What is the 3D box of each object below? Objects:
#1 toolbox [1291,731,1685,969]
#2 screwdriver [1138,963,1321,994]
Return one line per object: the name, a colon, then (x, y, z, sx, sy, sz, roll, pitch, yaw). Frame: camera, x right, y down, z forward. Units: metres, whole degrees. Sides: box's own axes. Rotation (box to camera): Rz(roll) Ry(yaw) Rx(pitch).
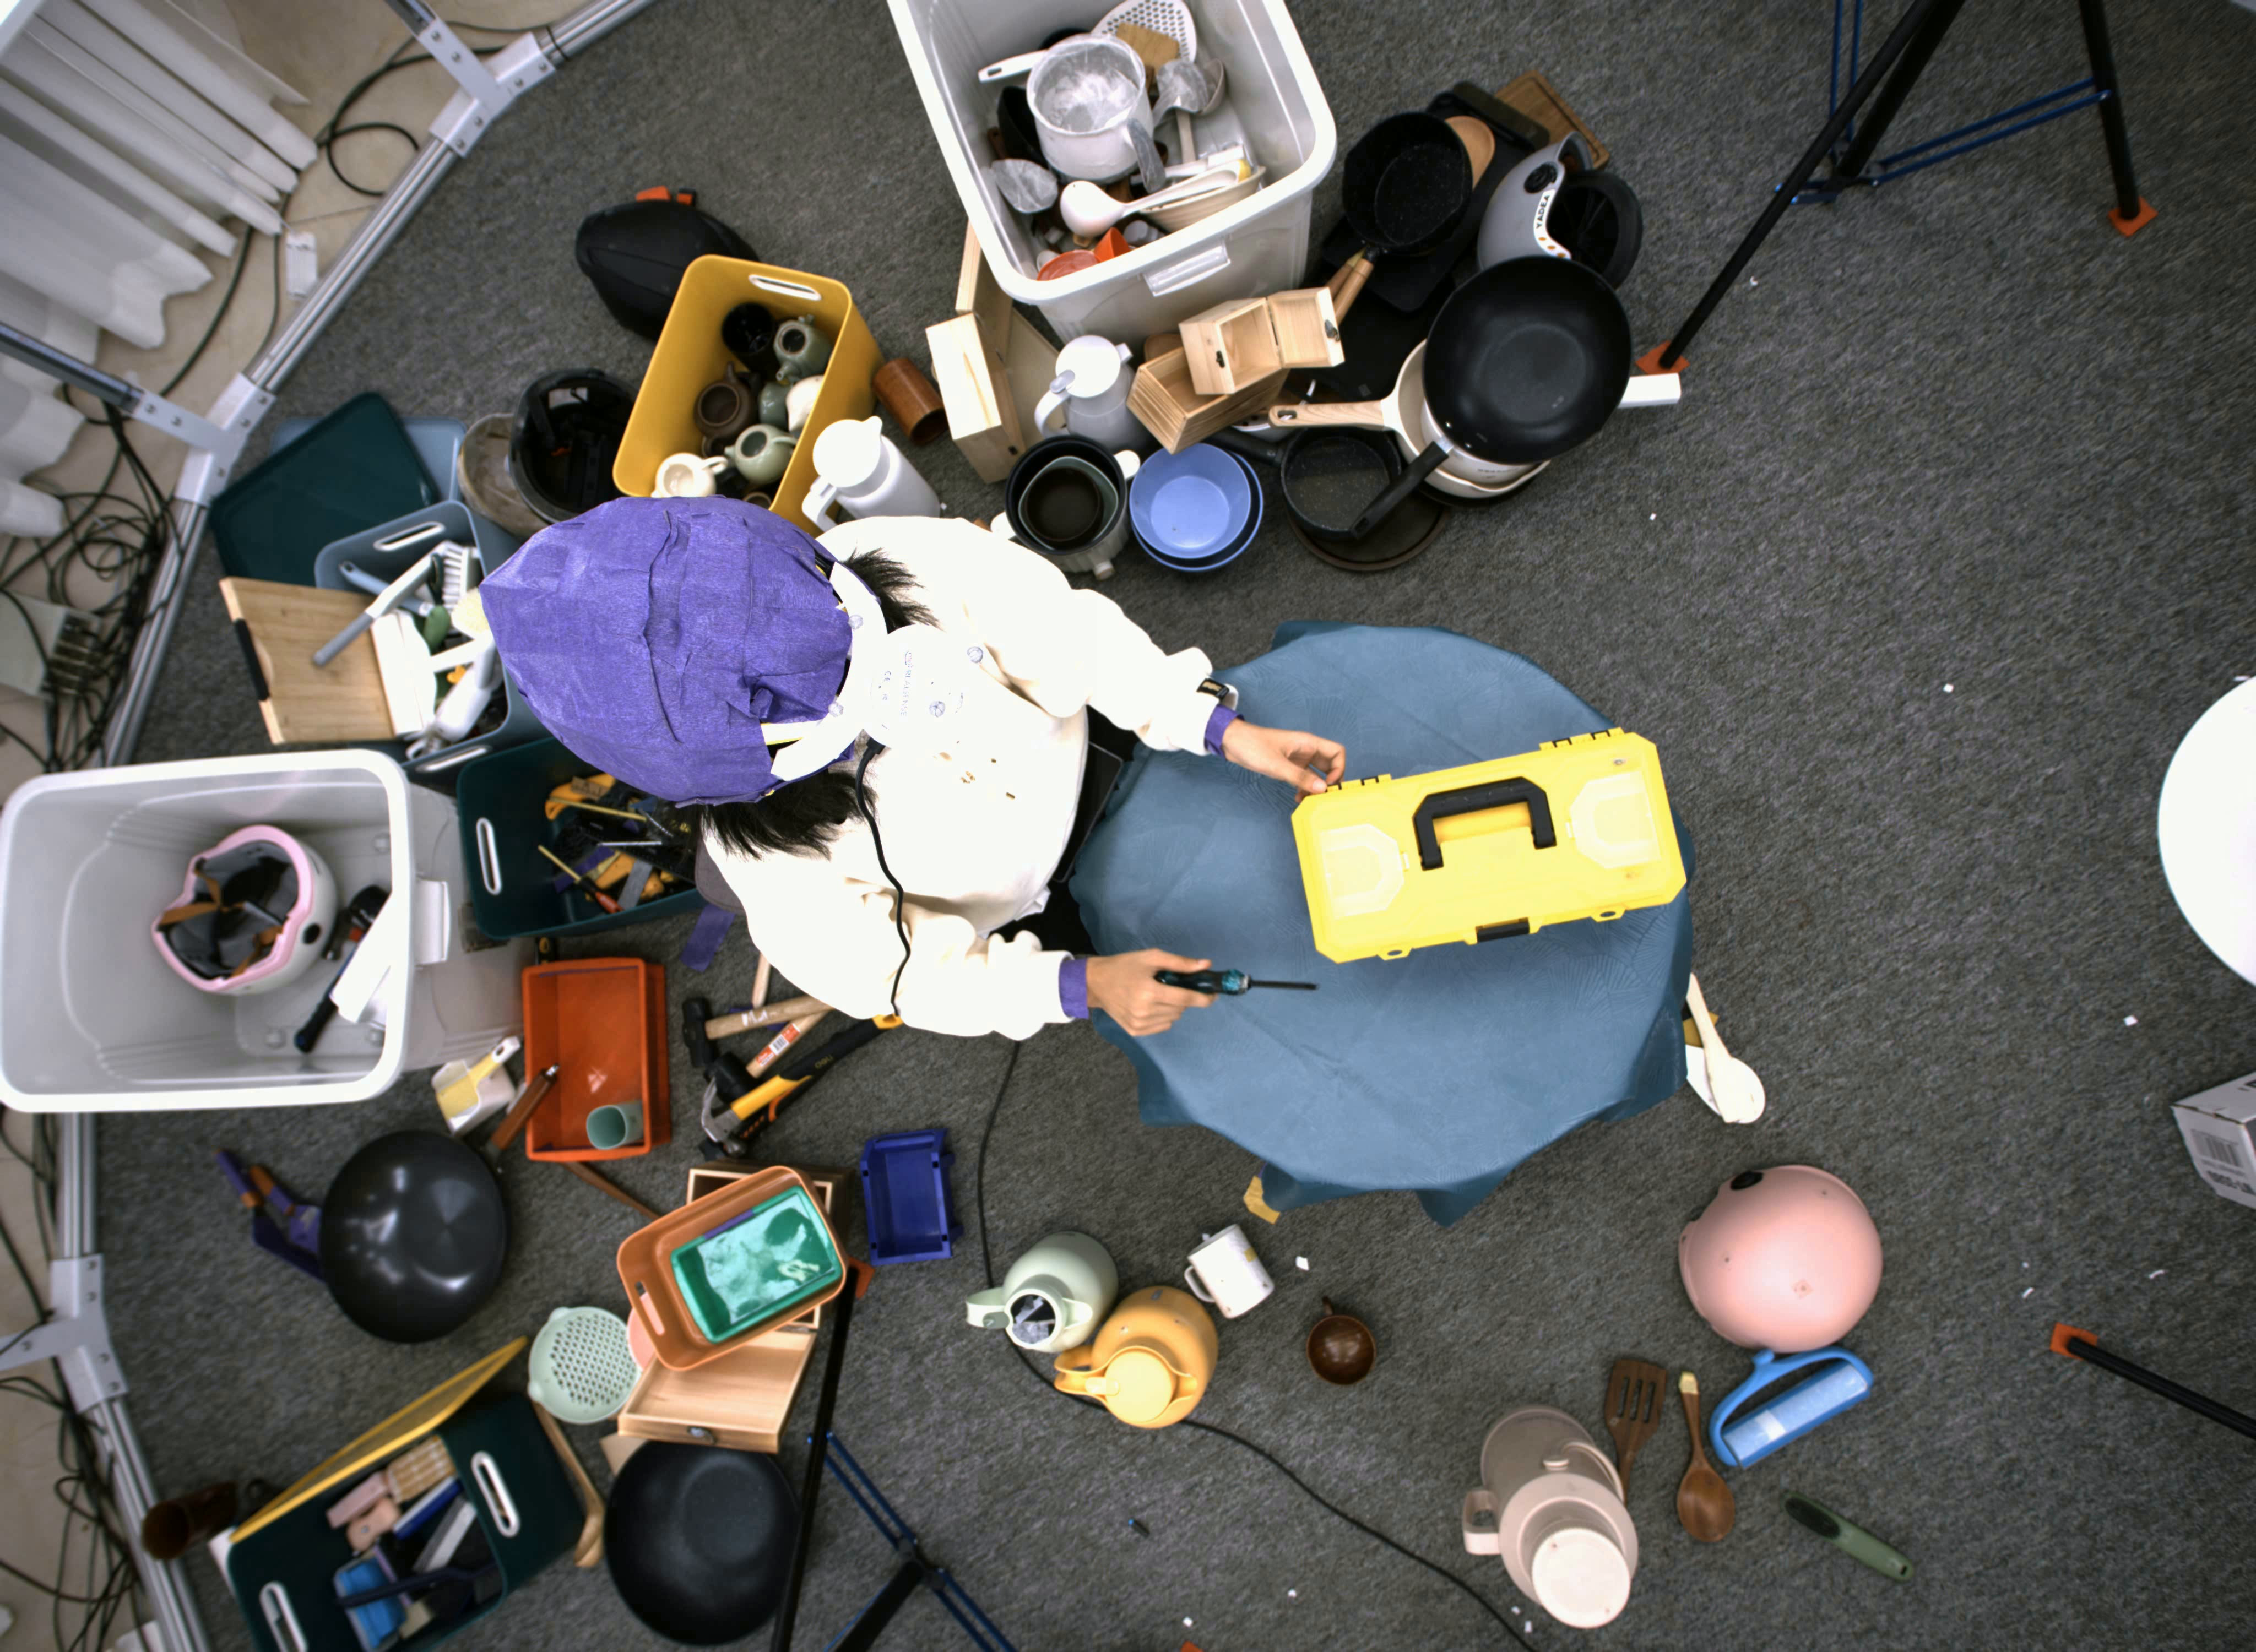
toolbox: (0.348, 0.025, 1.360, 0.353, 0.173, 0.180, -11, 83, 9)
screwdriver: (0.098, 0.150, 1.358, 0.191, 0.033, 0.033, -2, 84, 27)
